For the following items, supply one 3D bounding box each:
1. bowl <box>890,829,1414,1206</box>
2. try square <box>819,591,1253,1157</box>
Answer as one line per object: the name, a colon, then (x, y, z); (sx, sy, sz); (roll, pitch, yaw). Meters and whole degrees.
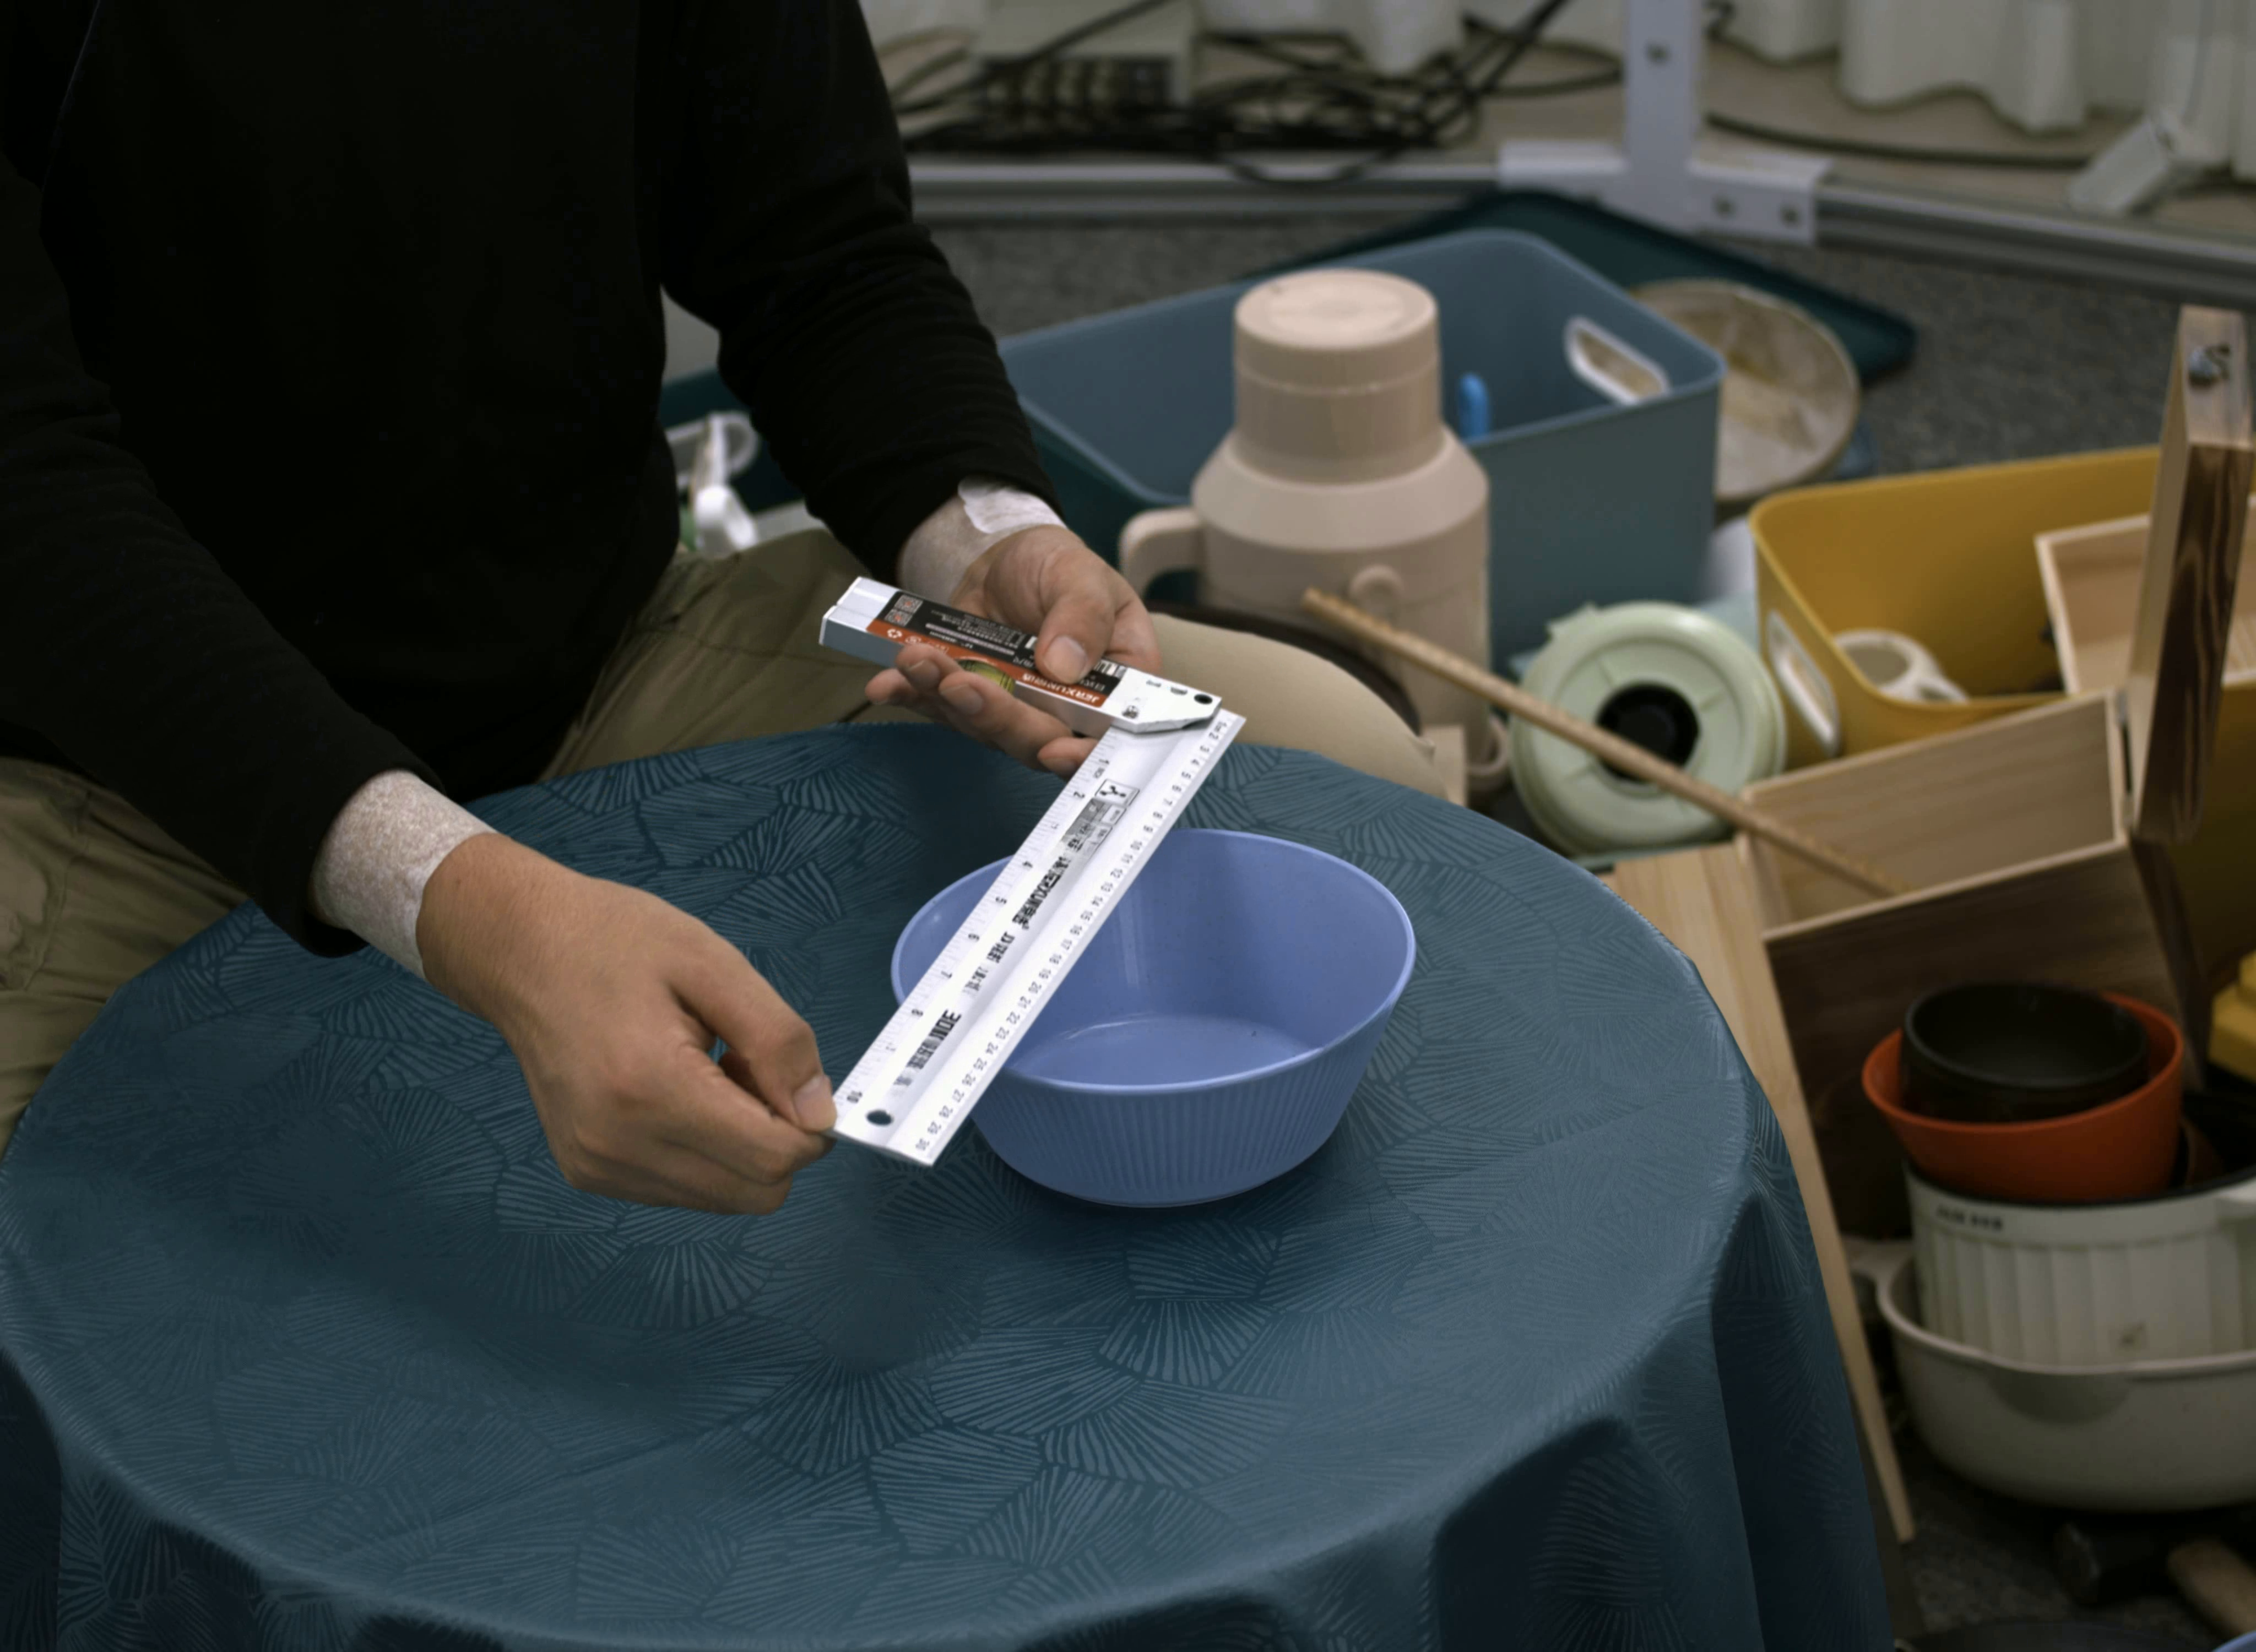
bowl: (0.009, 0.070, 1.885); (0.175, 0.069, 0.179); (-2, 28, 2)
try square: (-0.076, 0.010, 1.870); (0.151, 0.015, 0.318); (16, 31, 13)
